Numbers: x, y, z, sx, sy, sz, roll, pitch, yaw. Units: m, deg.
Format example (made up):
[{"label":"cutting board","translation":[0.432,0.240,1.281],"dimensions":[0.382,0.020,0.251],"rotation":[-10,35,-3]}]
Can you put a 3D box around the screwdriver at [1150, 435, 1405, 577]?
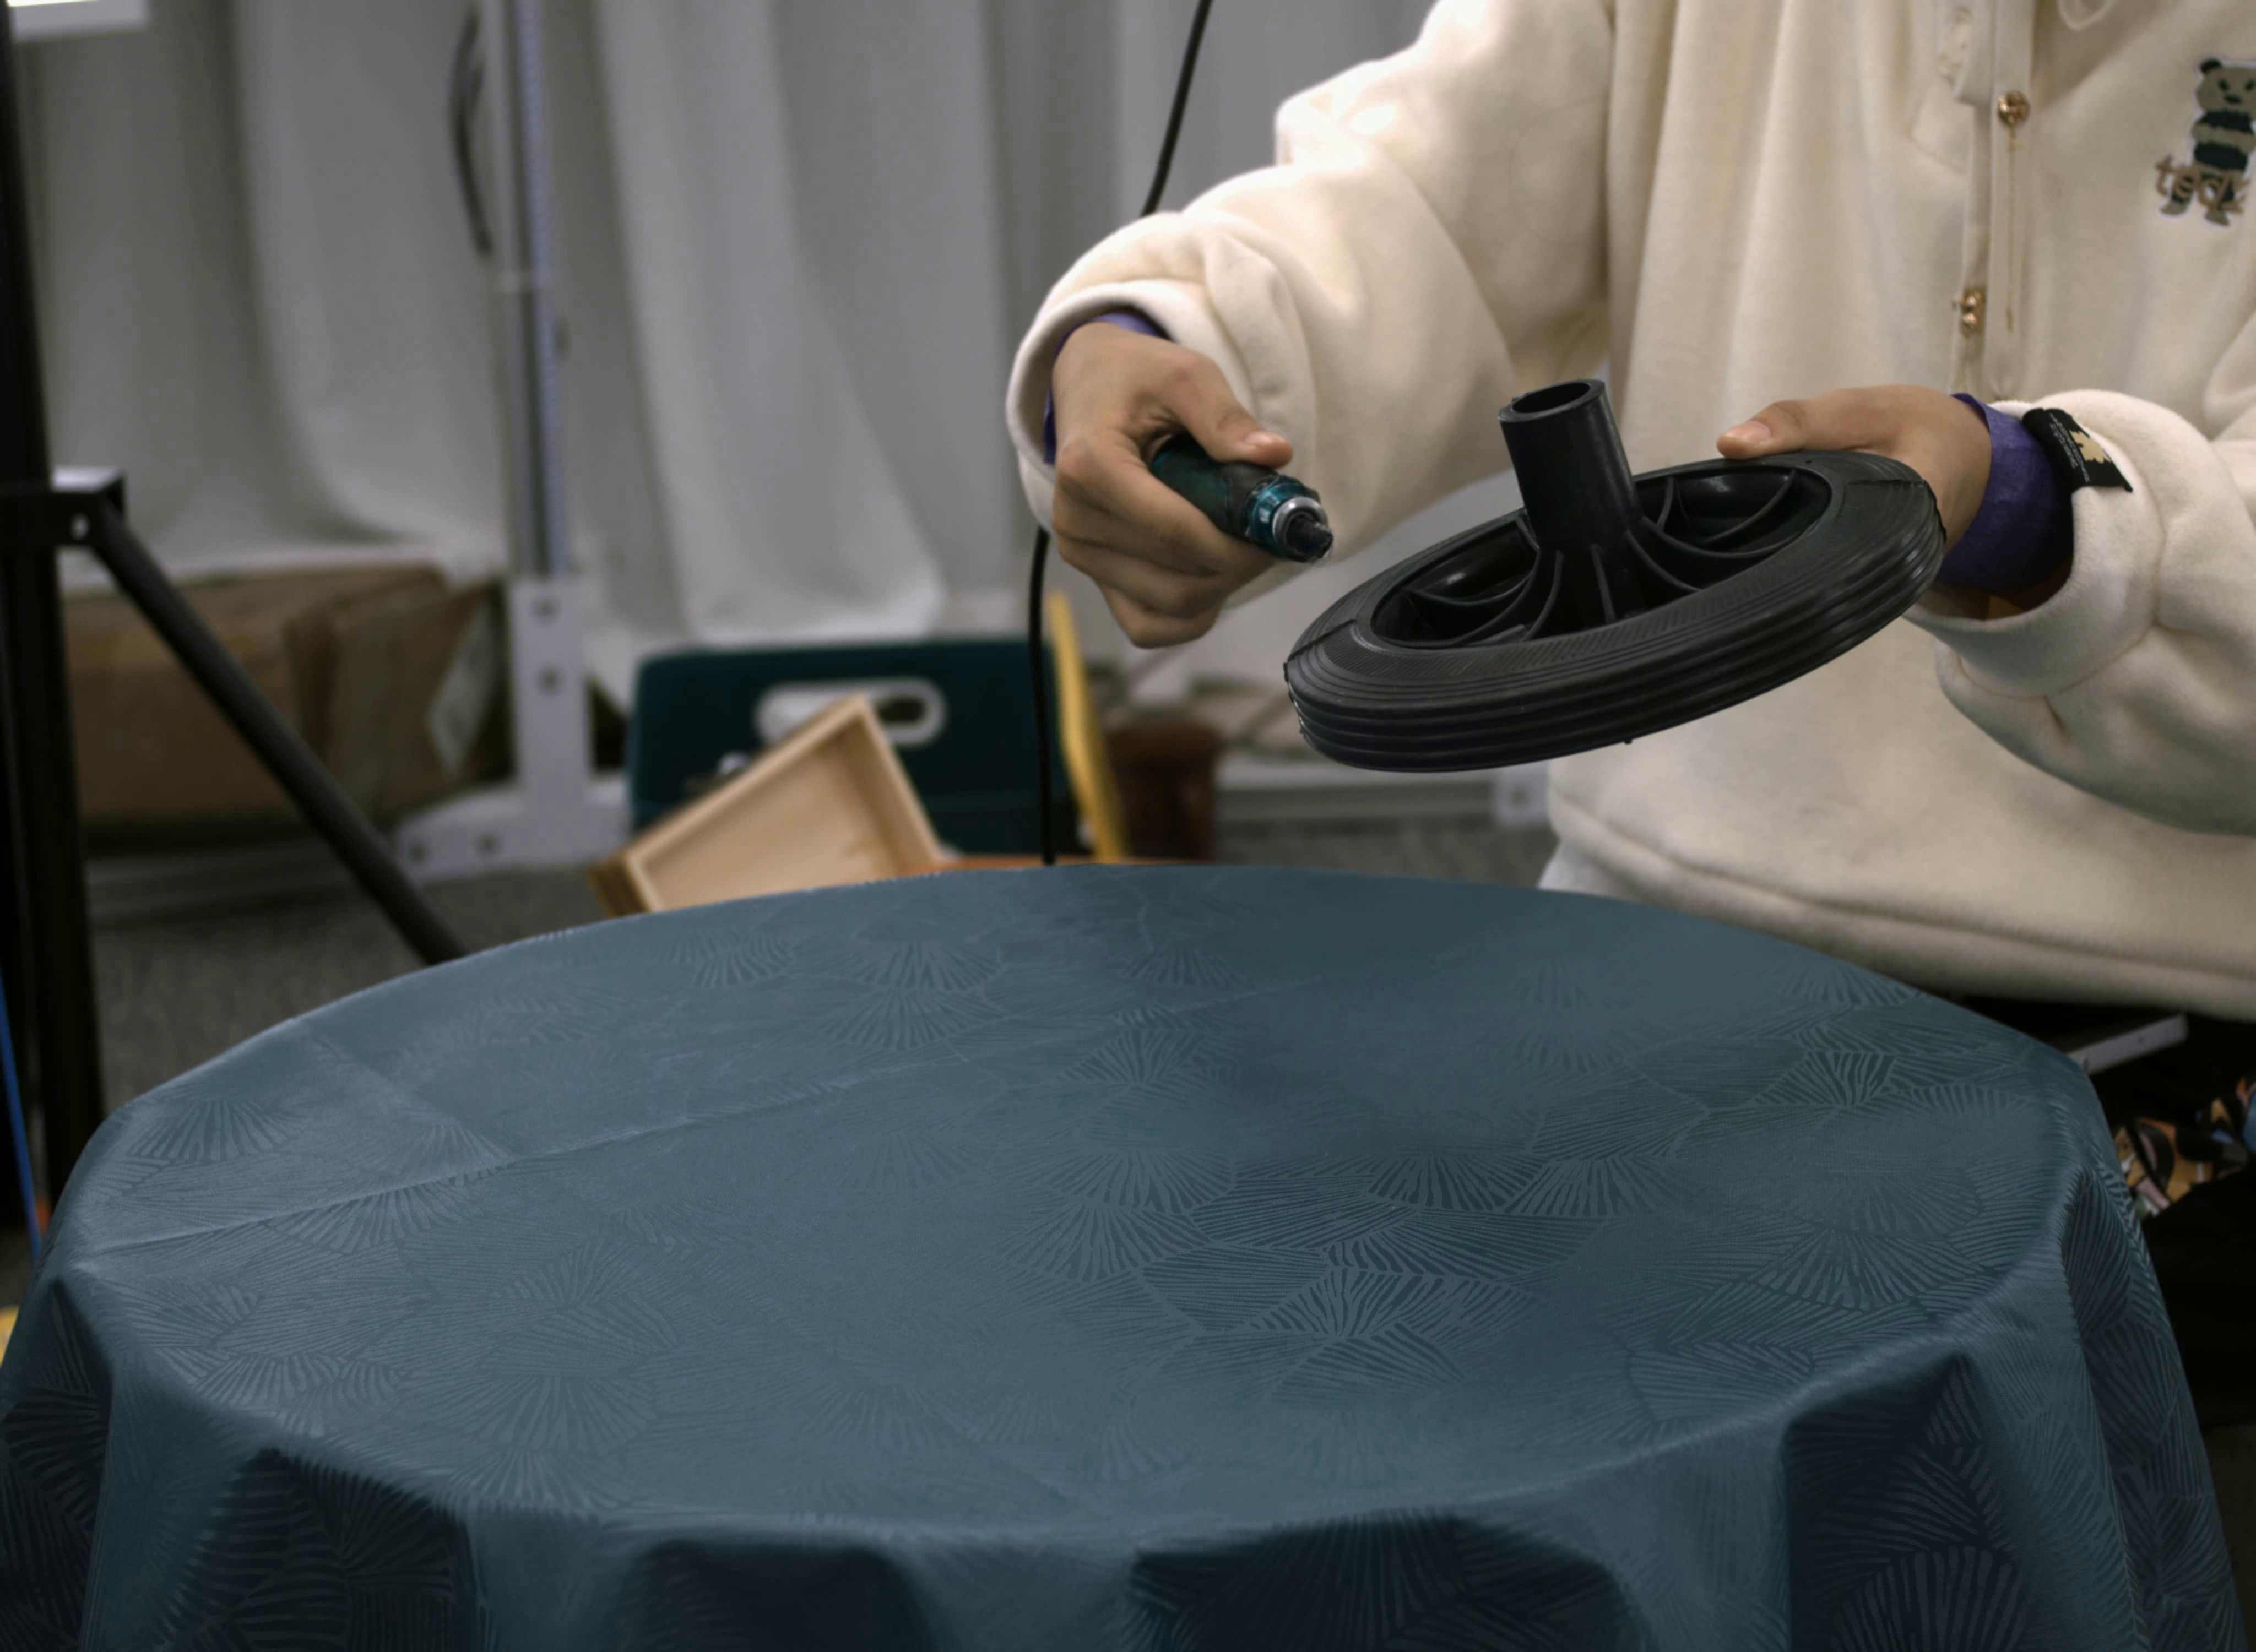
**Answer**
[{"label":"screwdriver","translation":[0.049,-0.094,1.649],"dimensions":[0.033,0.034,0.193],"rotation":[-7,14,-18]}]

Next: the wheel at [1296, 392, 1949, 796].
[{"label":"wheel","translation":[0.130,-0.077,1.478],"dimensions":[0.191,0.078,0.187],"rotation":[-2,26,44]}]
